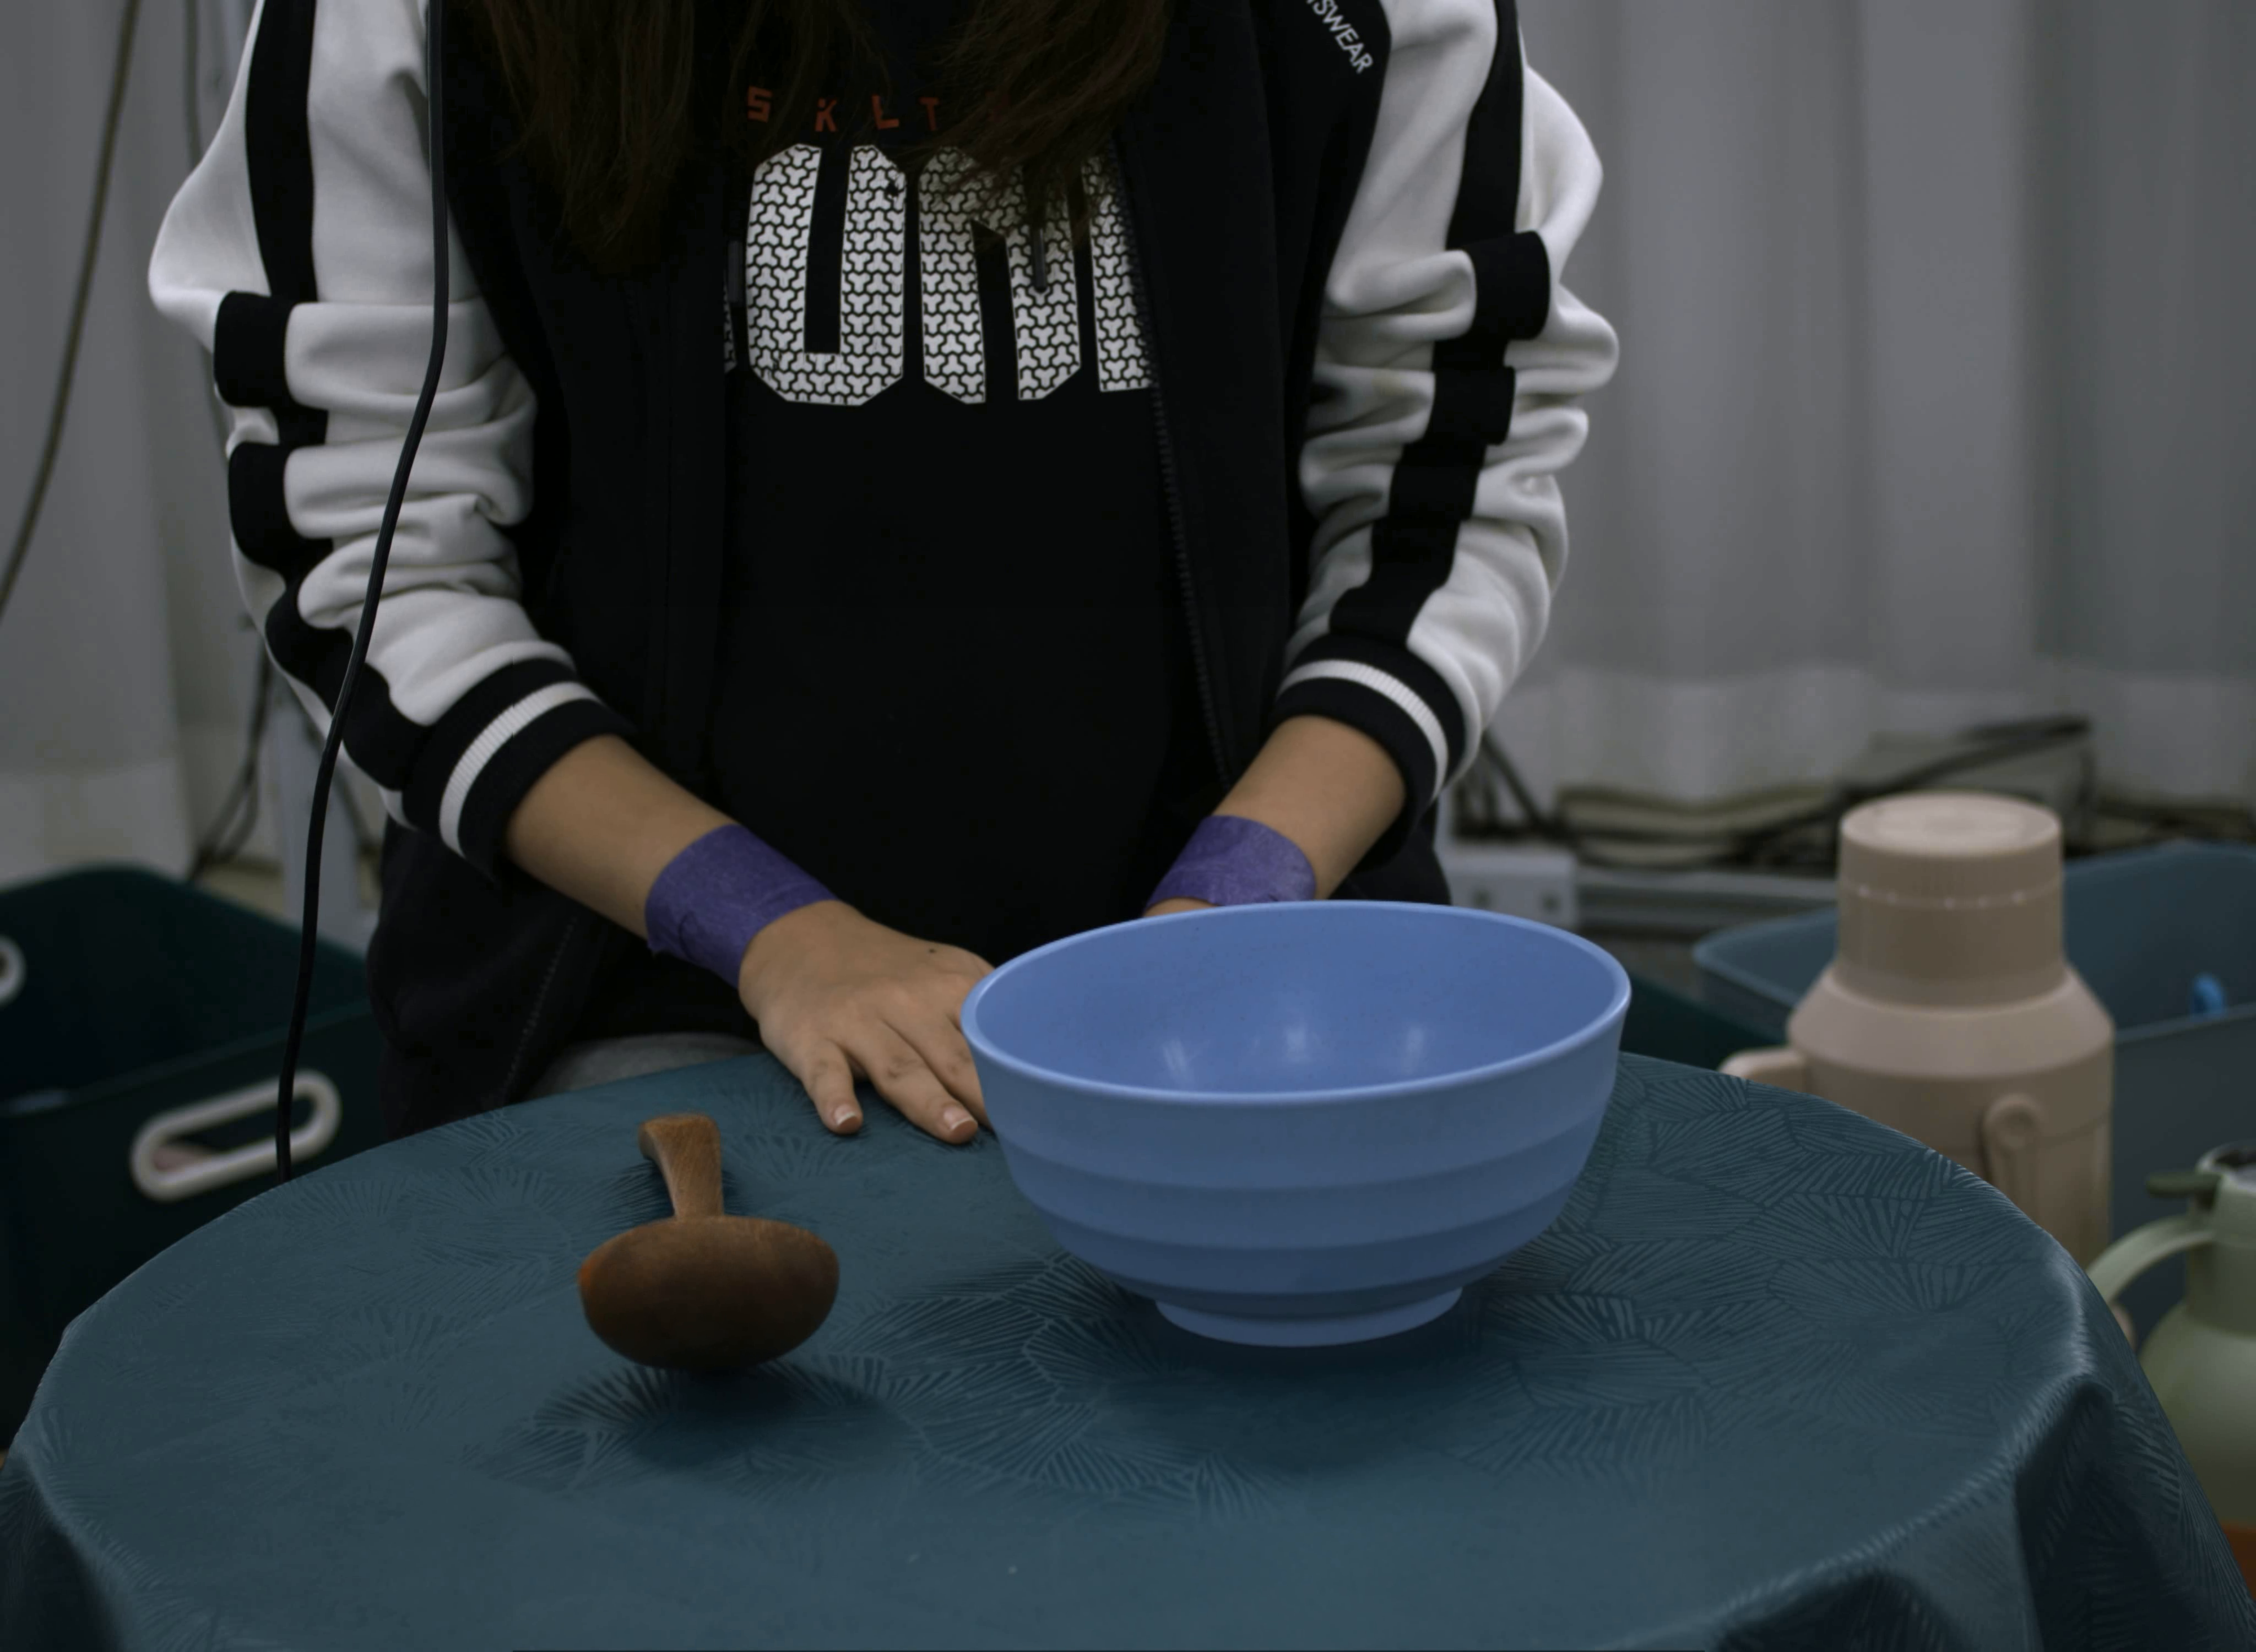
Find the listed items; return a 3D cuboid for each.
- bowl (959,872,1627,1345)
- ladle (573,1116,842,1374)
[{"bbox_3d":[0.054,0.091,1.611,0.196,0.095,0.198,-7,18,2],"label":"bowl"},{"bbox_3d":[-0.130,0.108,1.642,0.076,0.065,0.262,2,14,-7],"label":"ladle"}]
